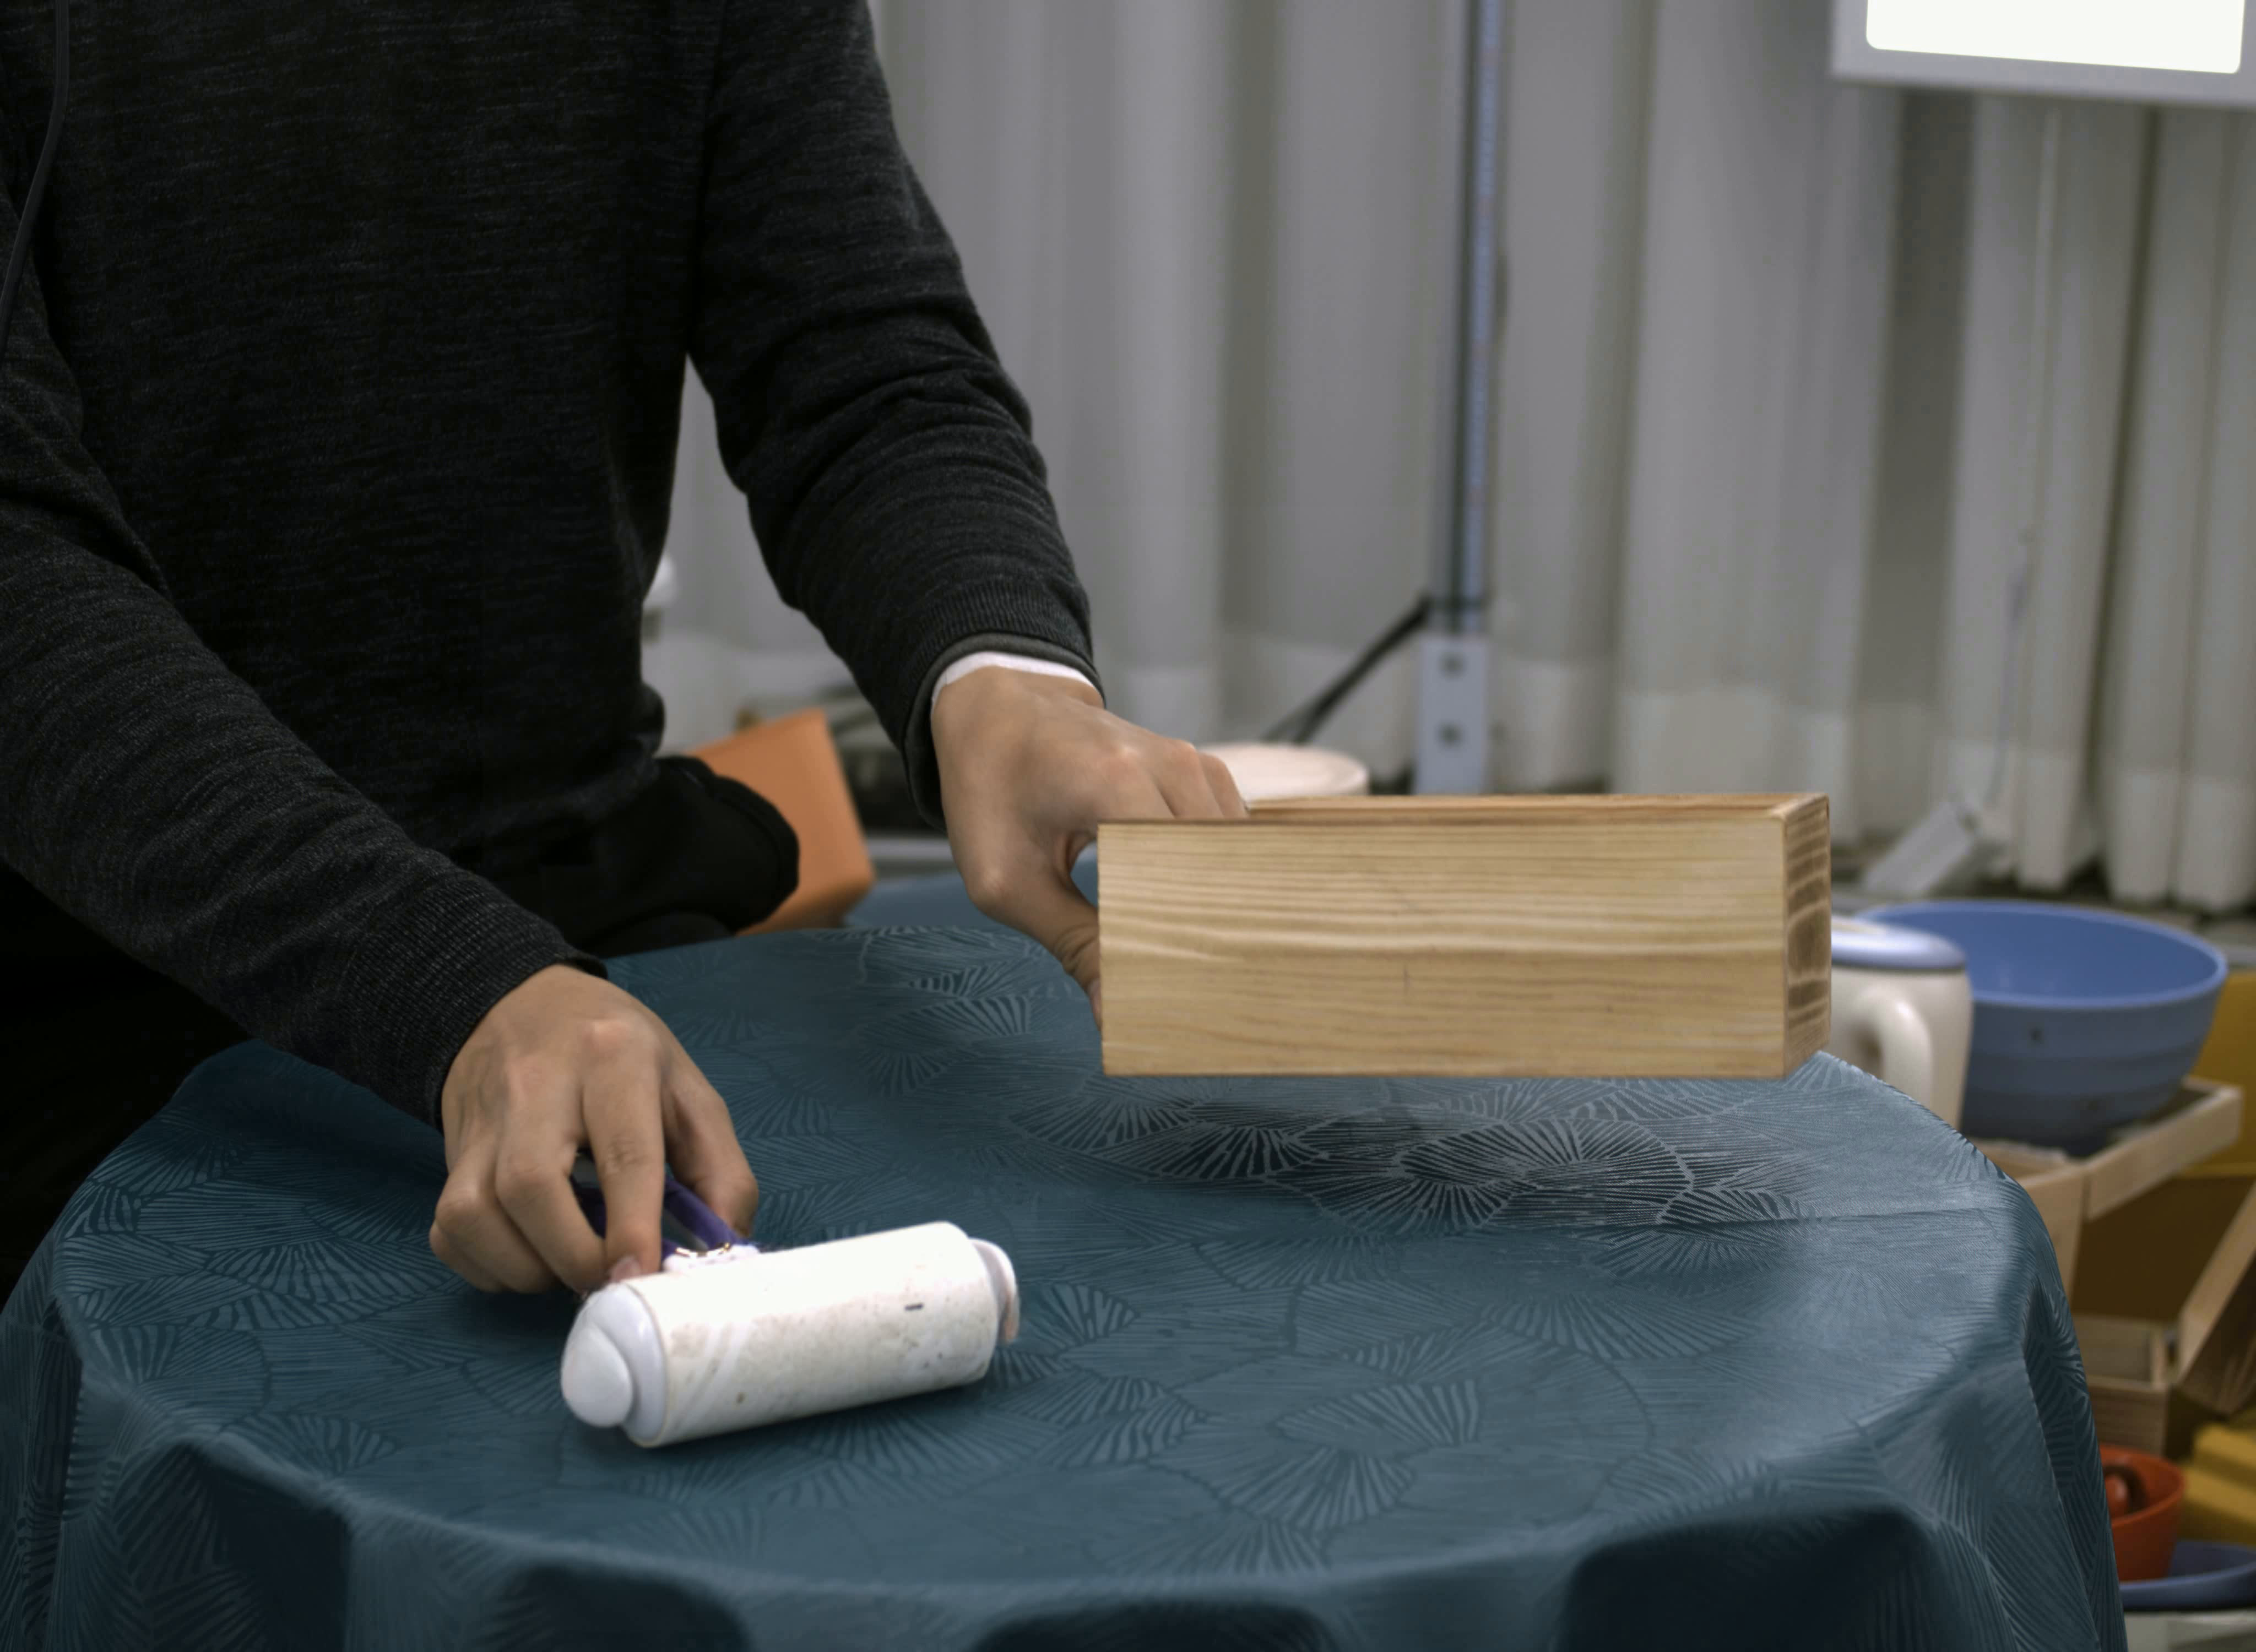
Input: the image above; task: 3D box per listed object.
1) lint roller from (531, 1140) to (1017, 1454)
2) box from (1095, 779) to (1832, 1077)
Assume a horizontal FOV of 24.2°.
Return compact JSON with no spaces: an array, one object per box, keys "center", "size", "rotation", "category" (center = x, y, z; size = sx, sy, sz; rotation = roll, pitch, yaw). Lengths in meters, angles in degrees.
[{"center":[-0.122,0.114,1.487],"size":[0.133,0.050,0.178],"rotation":[-9,28,-27],"category":"lint roller"},{"center":[0.106,0.031,1.630],"size":[0.210,0.080,0.108],"rotation":[-2,3,14],"category":"box"}]
